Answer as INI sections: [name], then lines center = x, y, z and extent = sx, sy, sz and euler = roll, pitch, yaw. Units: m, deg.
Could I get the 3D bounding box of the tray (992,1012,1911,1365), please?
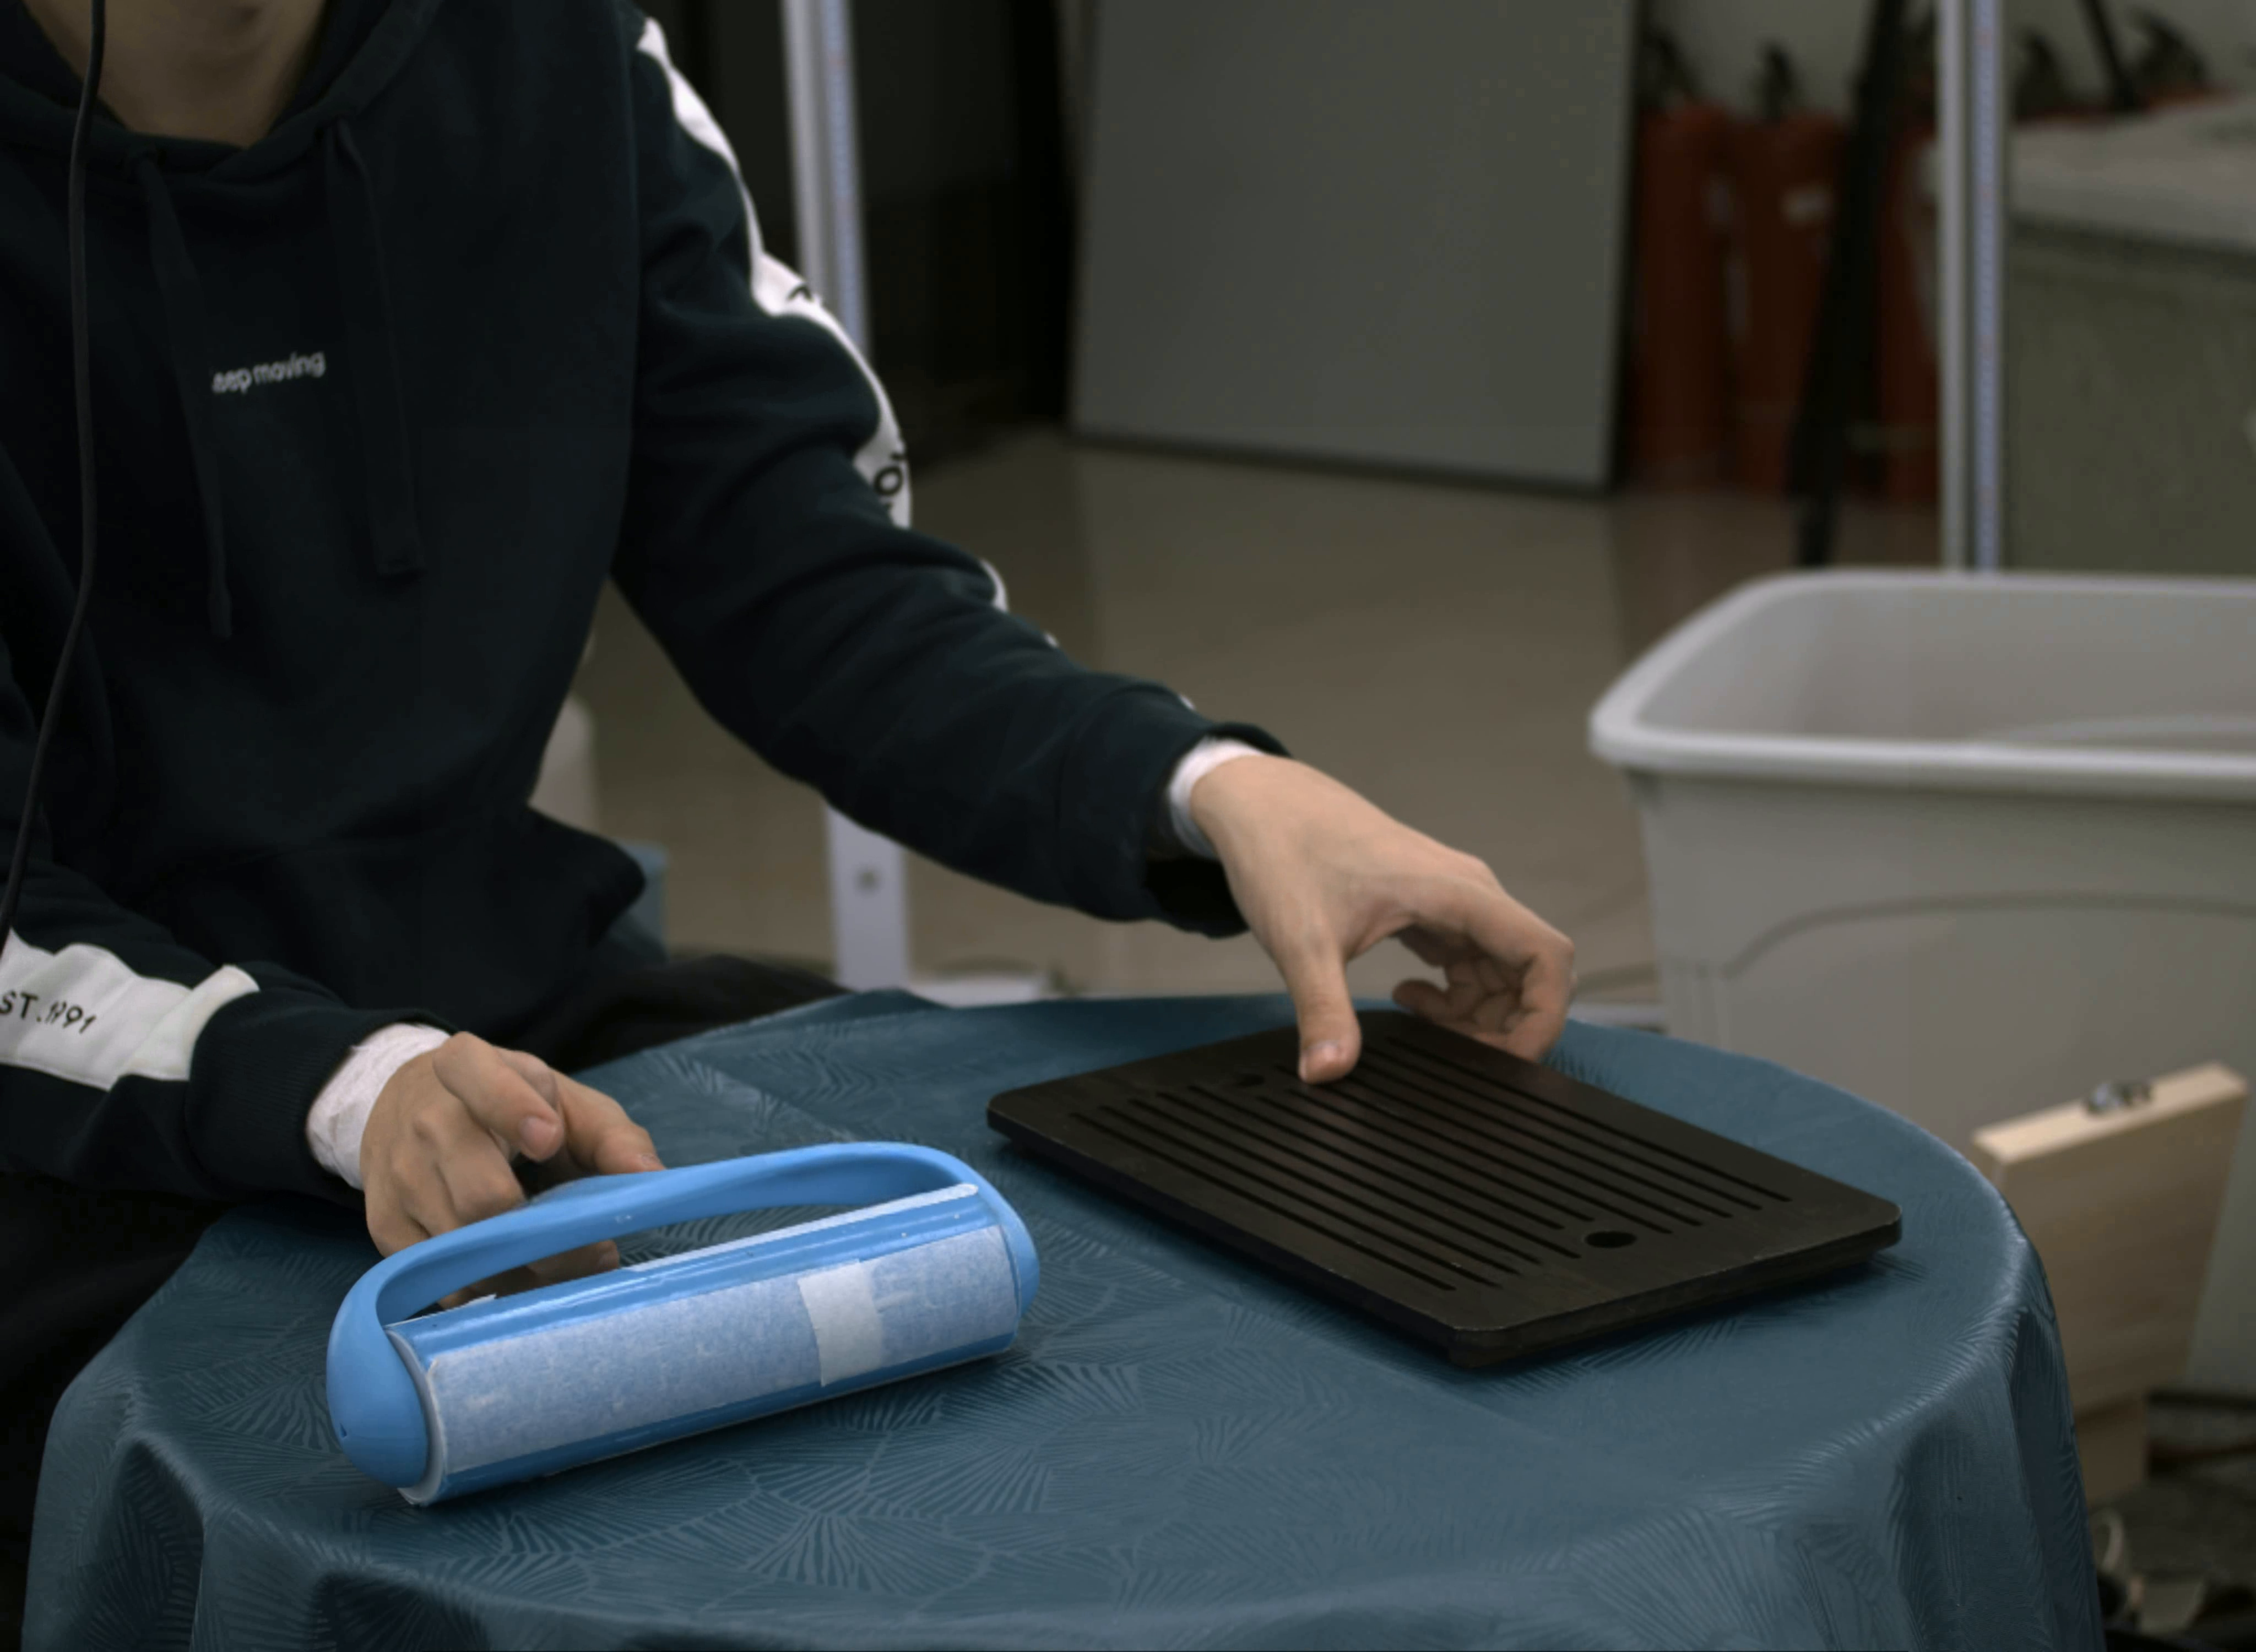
[tray]
center = 0.098, 0.113, 1.737
extent = 0.166, 0.019, 0.309
euler = -12, 16, -28

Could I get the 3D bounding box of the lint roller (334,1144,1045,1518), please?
[lint roller]
center = -0.157, 0.139, 1.624
extent = 0.224, 0.068, 0.182
euler = -15, 19, -31
